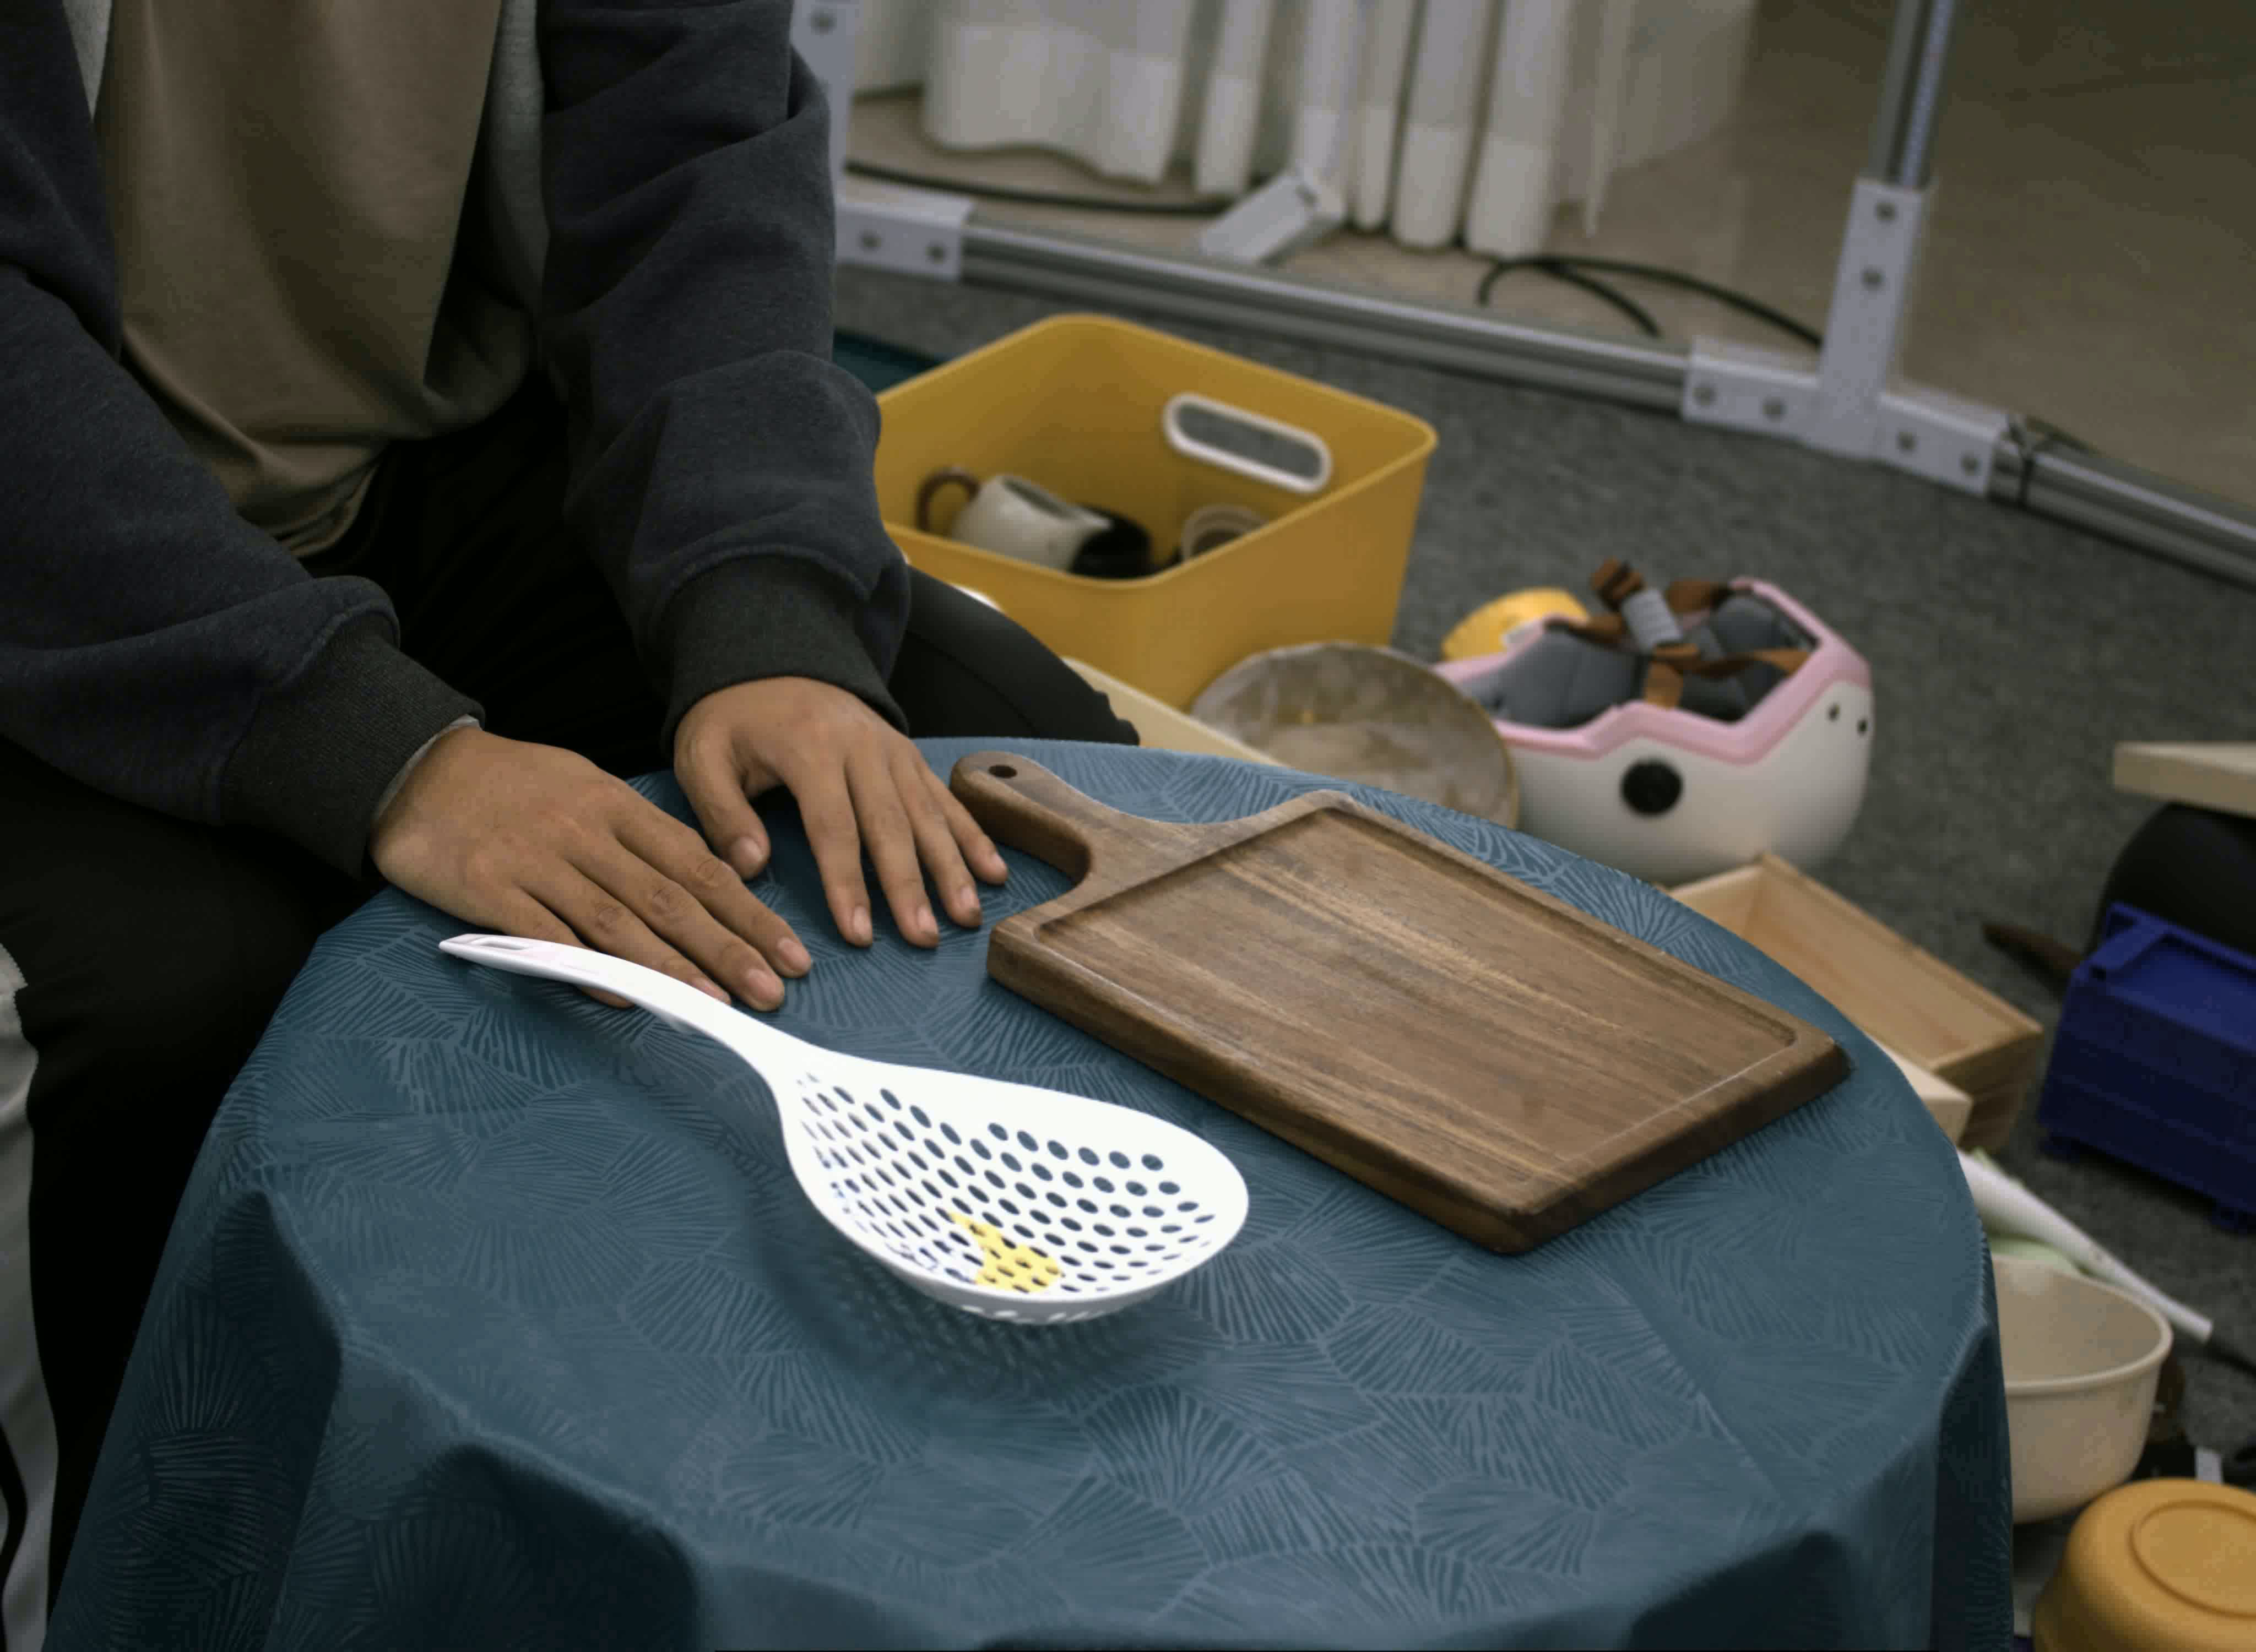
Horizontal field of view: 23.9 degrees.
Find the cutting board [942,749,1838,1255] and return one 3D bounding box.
[{"bbox_3d":[0.066,0.046,1.946,0.355,0.023,0.200,27,33,34],"label":"cutting board"}]

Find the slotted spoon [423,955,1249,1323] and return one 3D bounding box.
[{"bbox_3d":[-0.112,0.092,1.794,0.350,0.050,0.136,27,36,35],"label":"slotted spoon"}]
